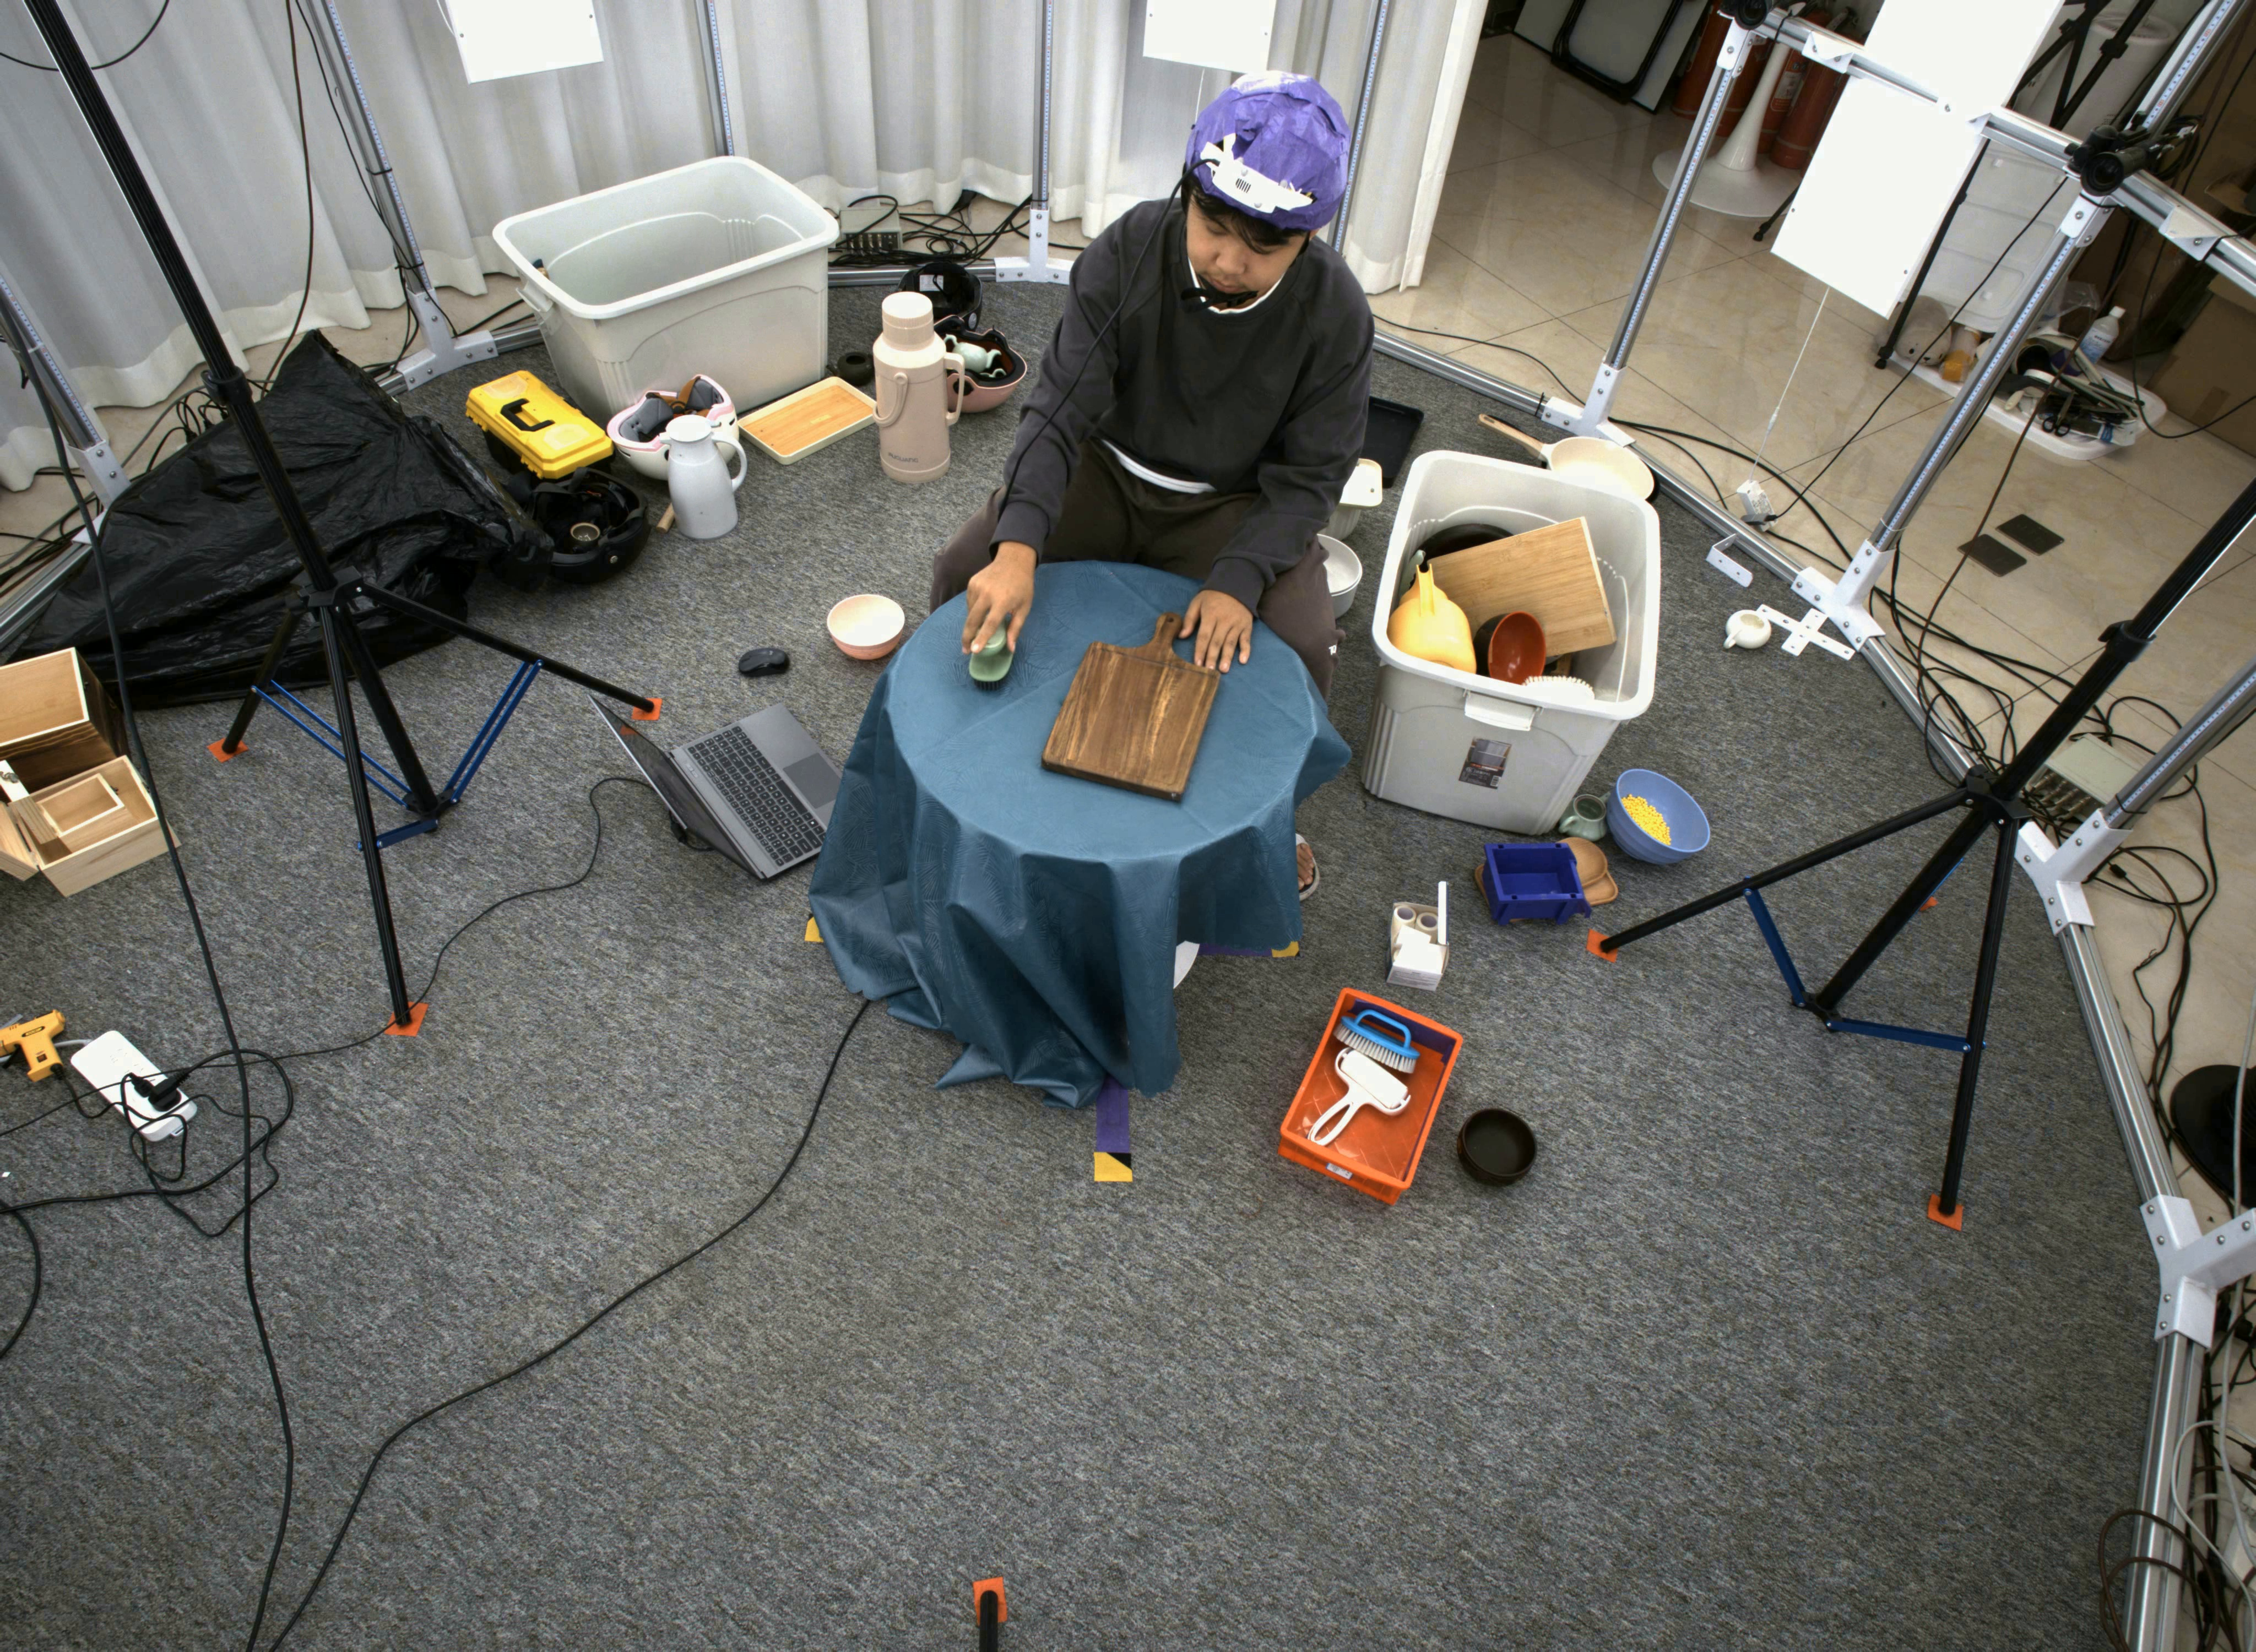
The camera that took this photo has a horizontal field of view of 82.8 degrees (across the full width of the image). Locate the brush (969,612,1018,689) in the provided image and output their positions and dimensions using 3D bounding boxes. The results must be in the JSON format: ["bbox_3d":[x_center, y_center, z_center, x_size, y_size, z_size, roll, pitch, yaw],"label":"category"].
[{"bbox_3d":[-0.192,-0.252,1.831,0.059,0.074,0.126,6,36,4],"label":"brush"}]

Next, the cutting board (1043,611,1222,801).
[{"bbox_3d":[0.024,-0.187,1.816,0.201,0.022,0.360,14,49,7],"label":"cutting board"}]
